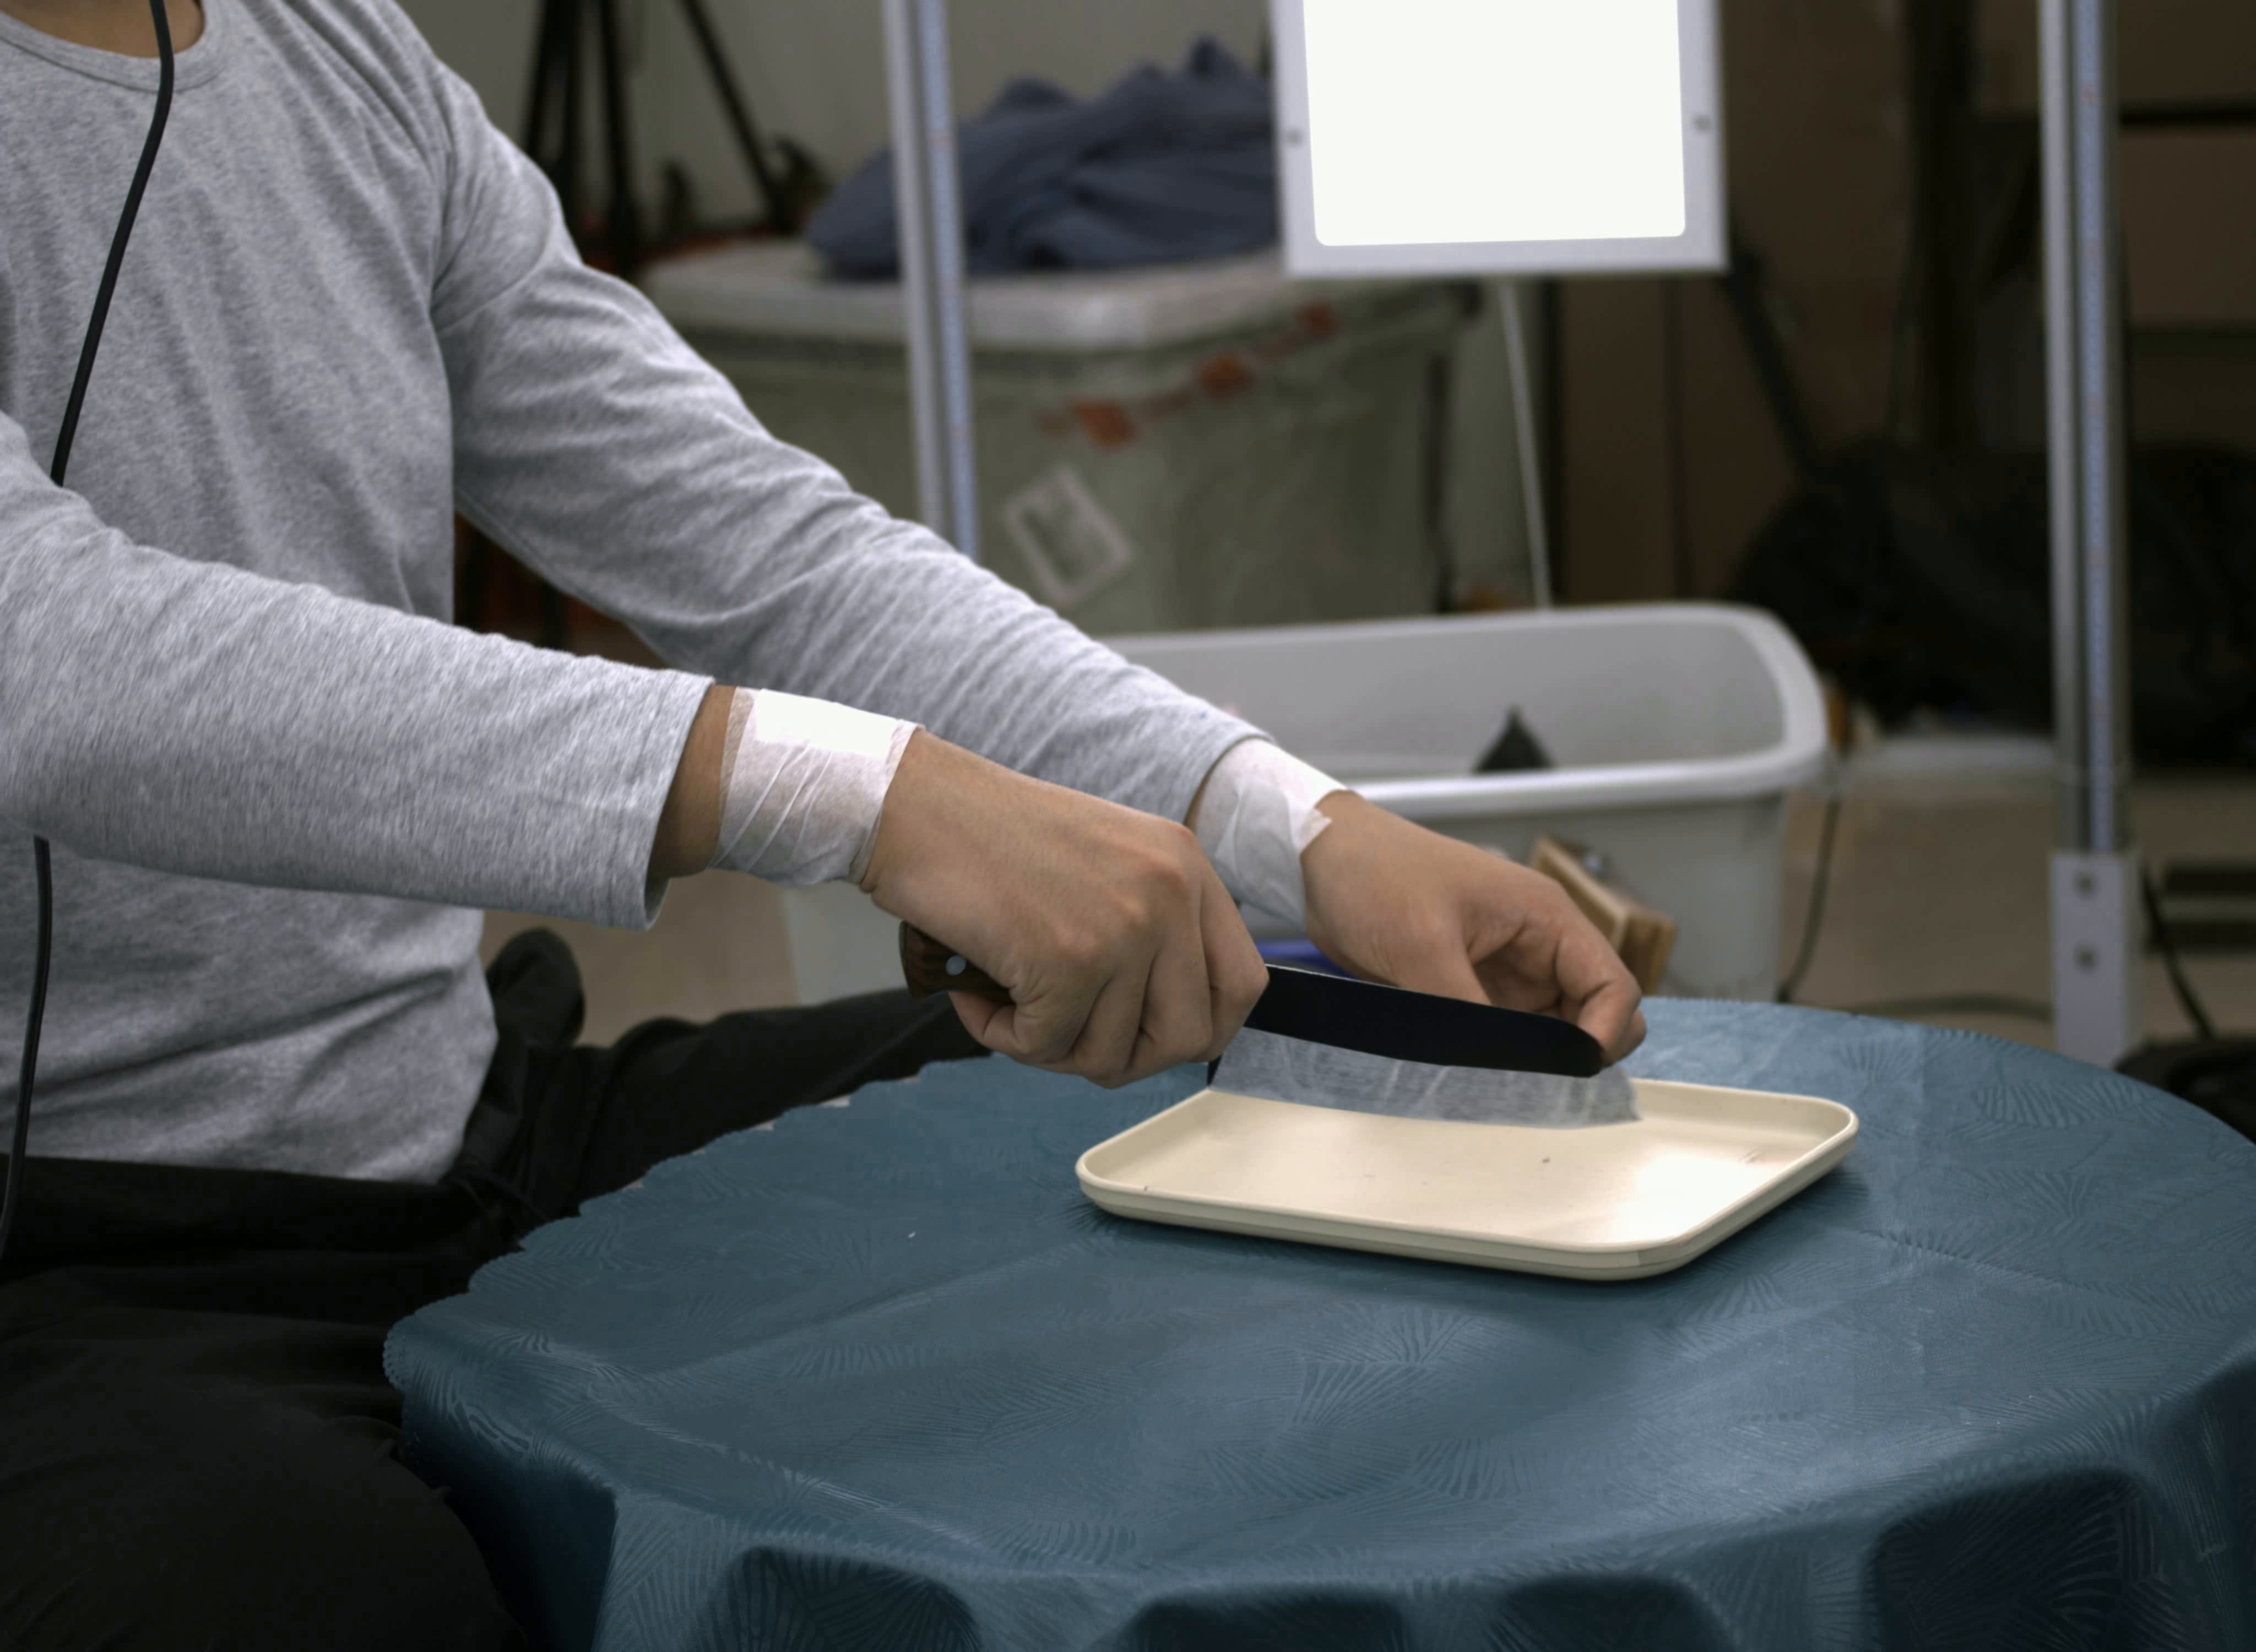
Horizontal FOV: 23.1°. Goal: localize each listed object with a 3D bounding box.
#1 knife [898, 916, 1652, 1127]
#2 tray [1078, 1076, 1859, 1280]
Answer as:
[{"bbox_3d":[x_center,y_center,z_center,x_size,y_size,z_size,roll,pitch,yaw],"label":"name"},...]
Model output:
[{"bbox_3d":[0.052,0.064,1.750,0.283,0.050,0.020,13,16,-28],"label":"knife"},{"bbox_3d":[0.116,0.114,1.872,0.244,0.017,0.167,5,17,36],"label":"tray"}]
